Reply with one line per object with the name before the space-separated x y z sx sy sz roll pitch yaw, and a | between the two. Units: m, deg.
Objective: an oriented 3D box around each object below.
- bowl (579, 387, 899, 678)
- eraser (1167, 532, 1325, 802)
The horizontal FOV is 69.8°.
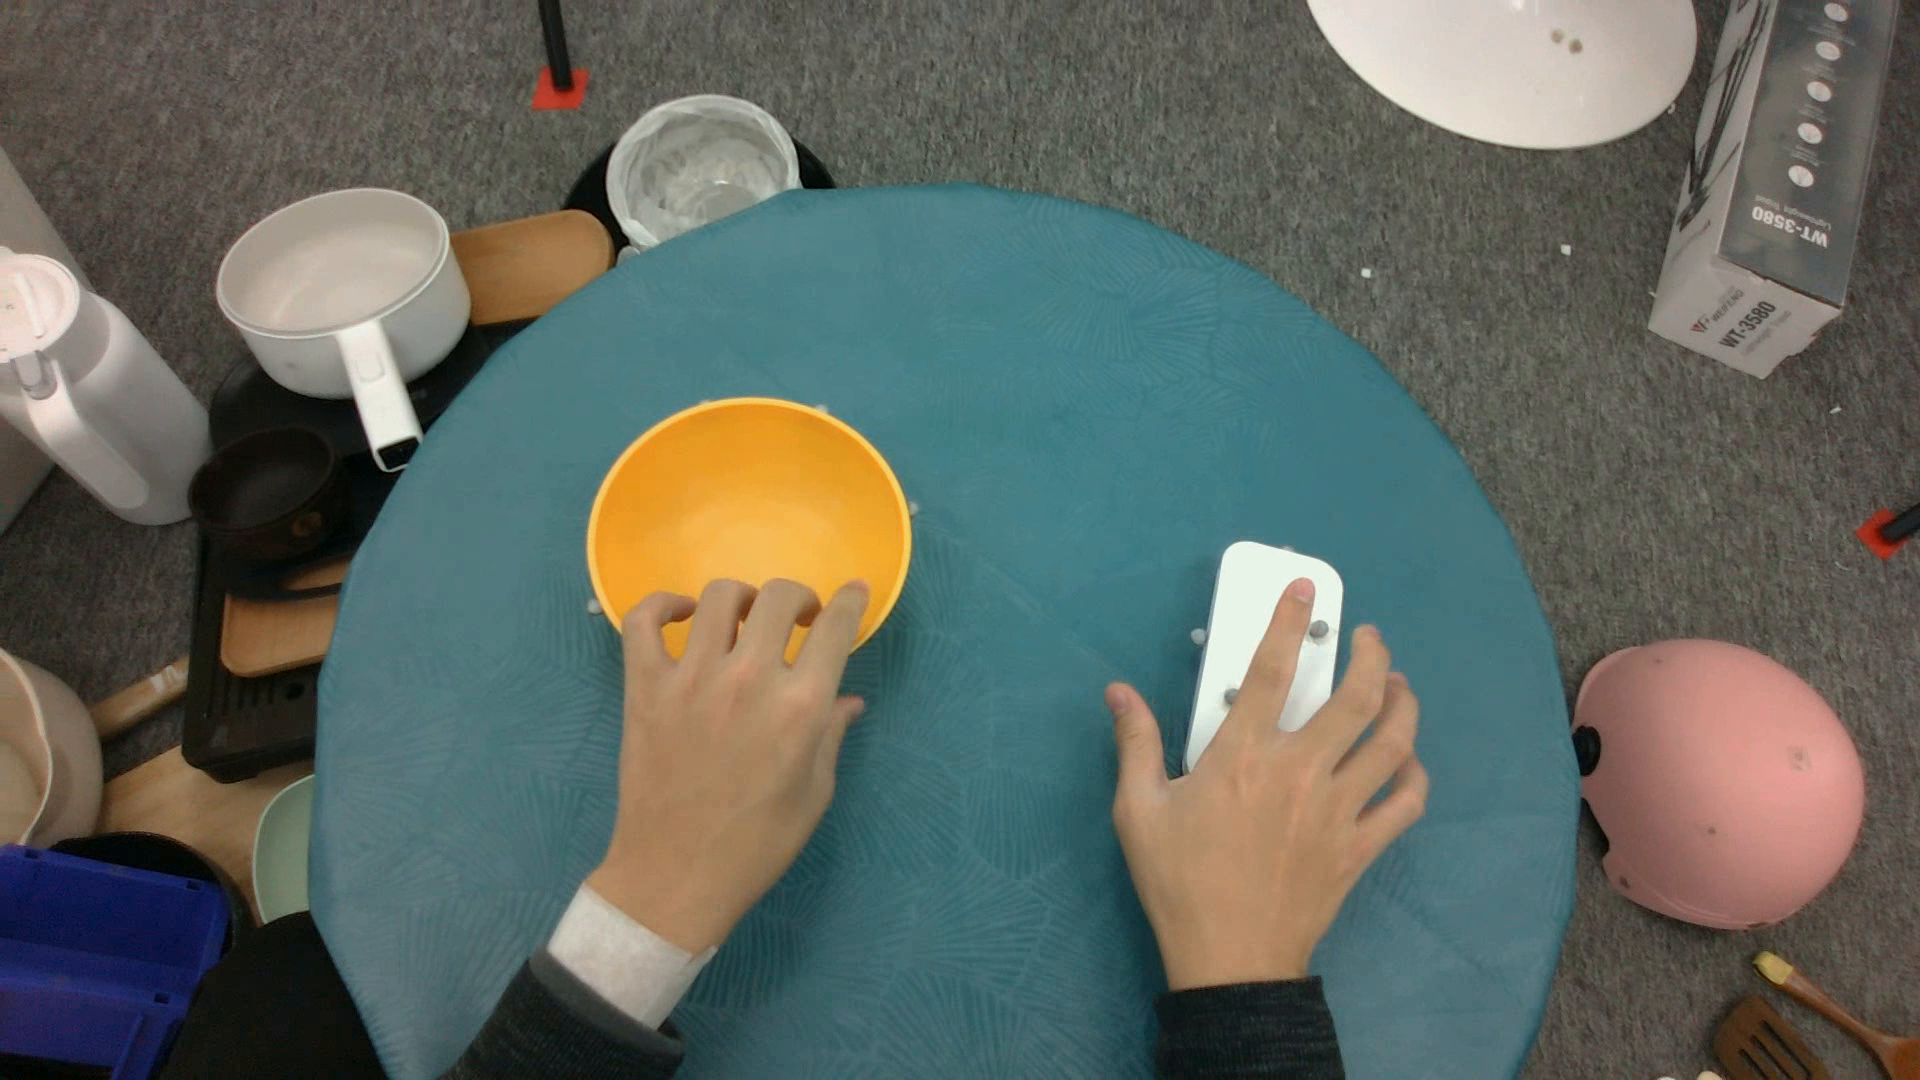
bowl | -0.101 0.004 0.651 0.145 0.060 0.146 2 67 -4
eraser | 0.137 0.059 0.666 0.063 0.034 0.132 15 63 2
